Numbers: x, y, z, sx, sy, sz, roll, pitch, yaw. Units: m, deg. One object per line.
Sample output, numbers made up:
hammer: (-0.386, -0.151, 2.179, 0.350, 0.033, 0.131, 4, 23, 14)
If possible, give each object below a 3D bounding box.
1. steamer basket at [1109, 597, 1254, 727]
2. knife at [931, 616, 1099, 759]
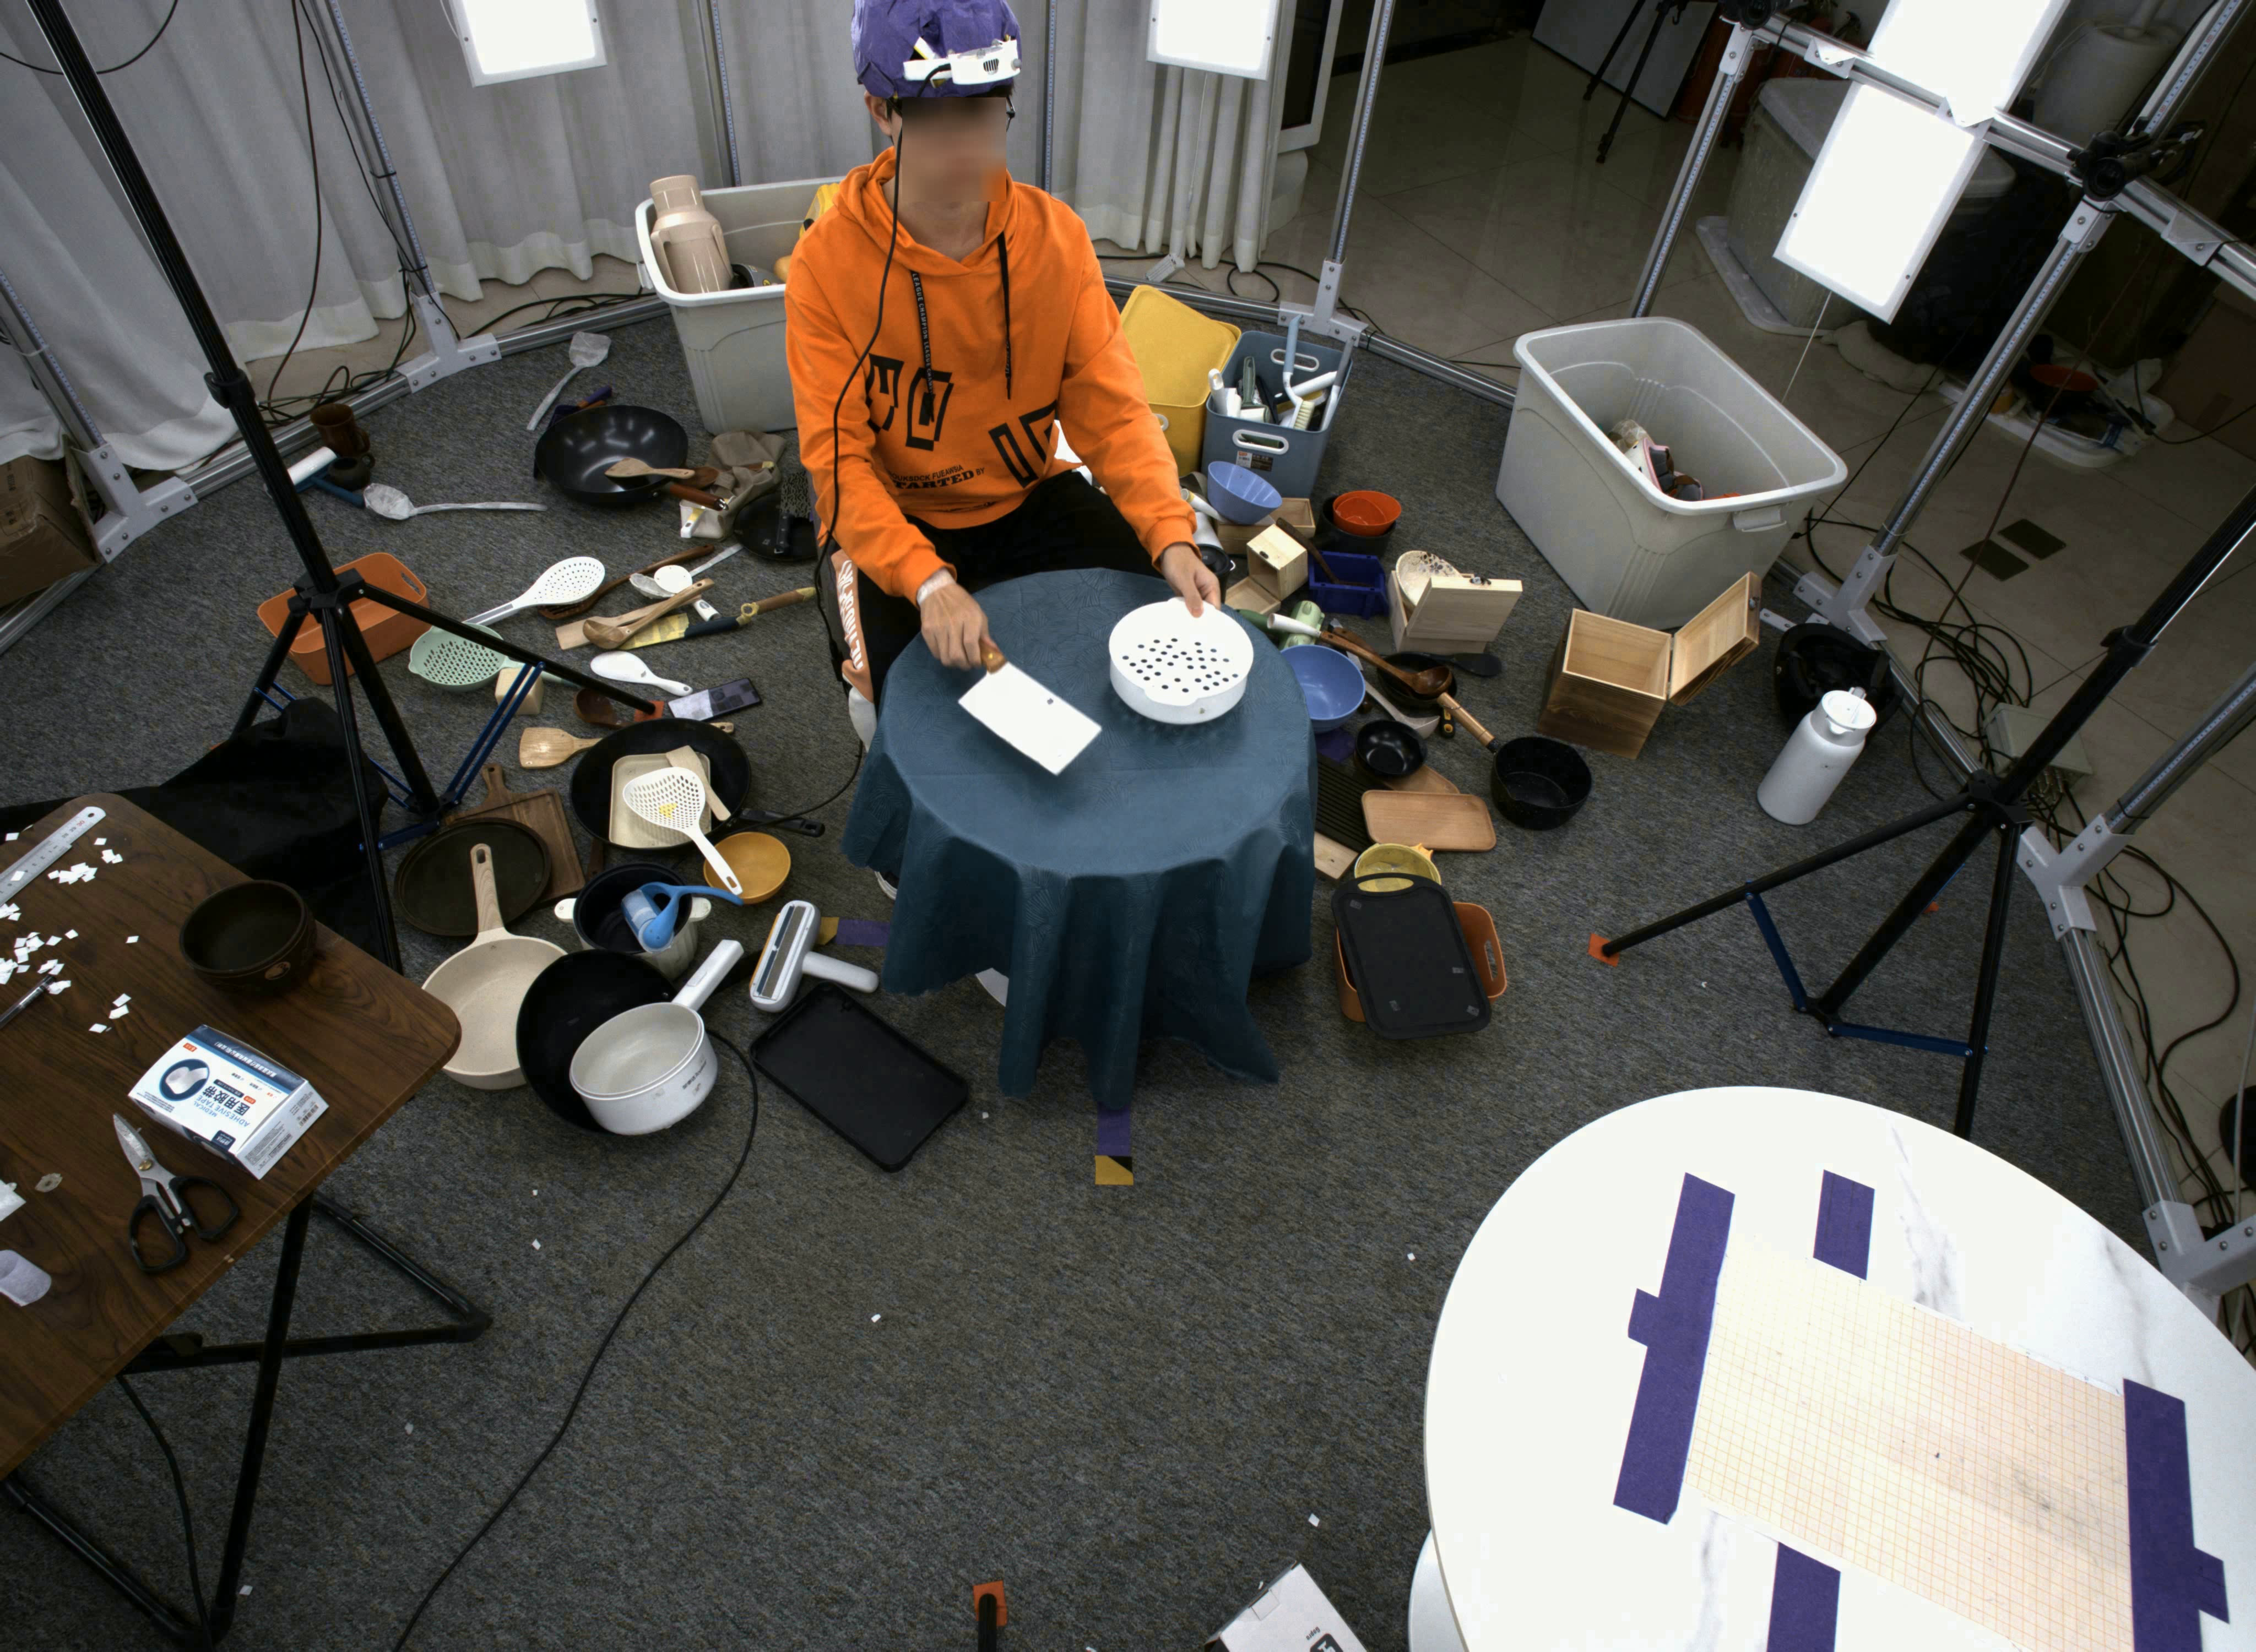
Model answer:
steamer basket: (0.073, -0.226, 1.800, 0.202, 0.067, 0.236, 9, 48, 5)
knife: (-0.172, -0.185, 1.726, 0.310, 0.020, 0.093, 36, 73, 28)
